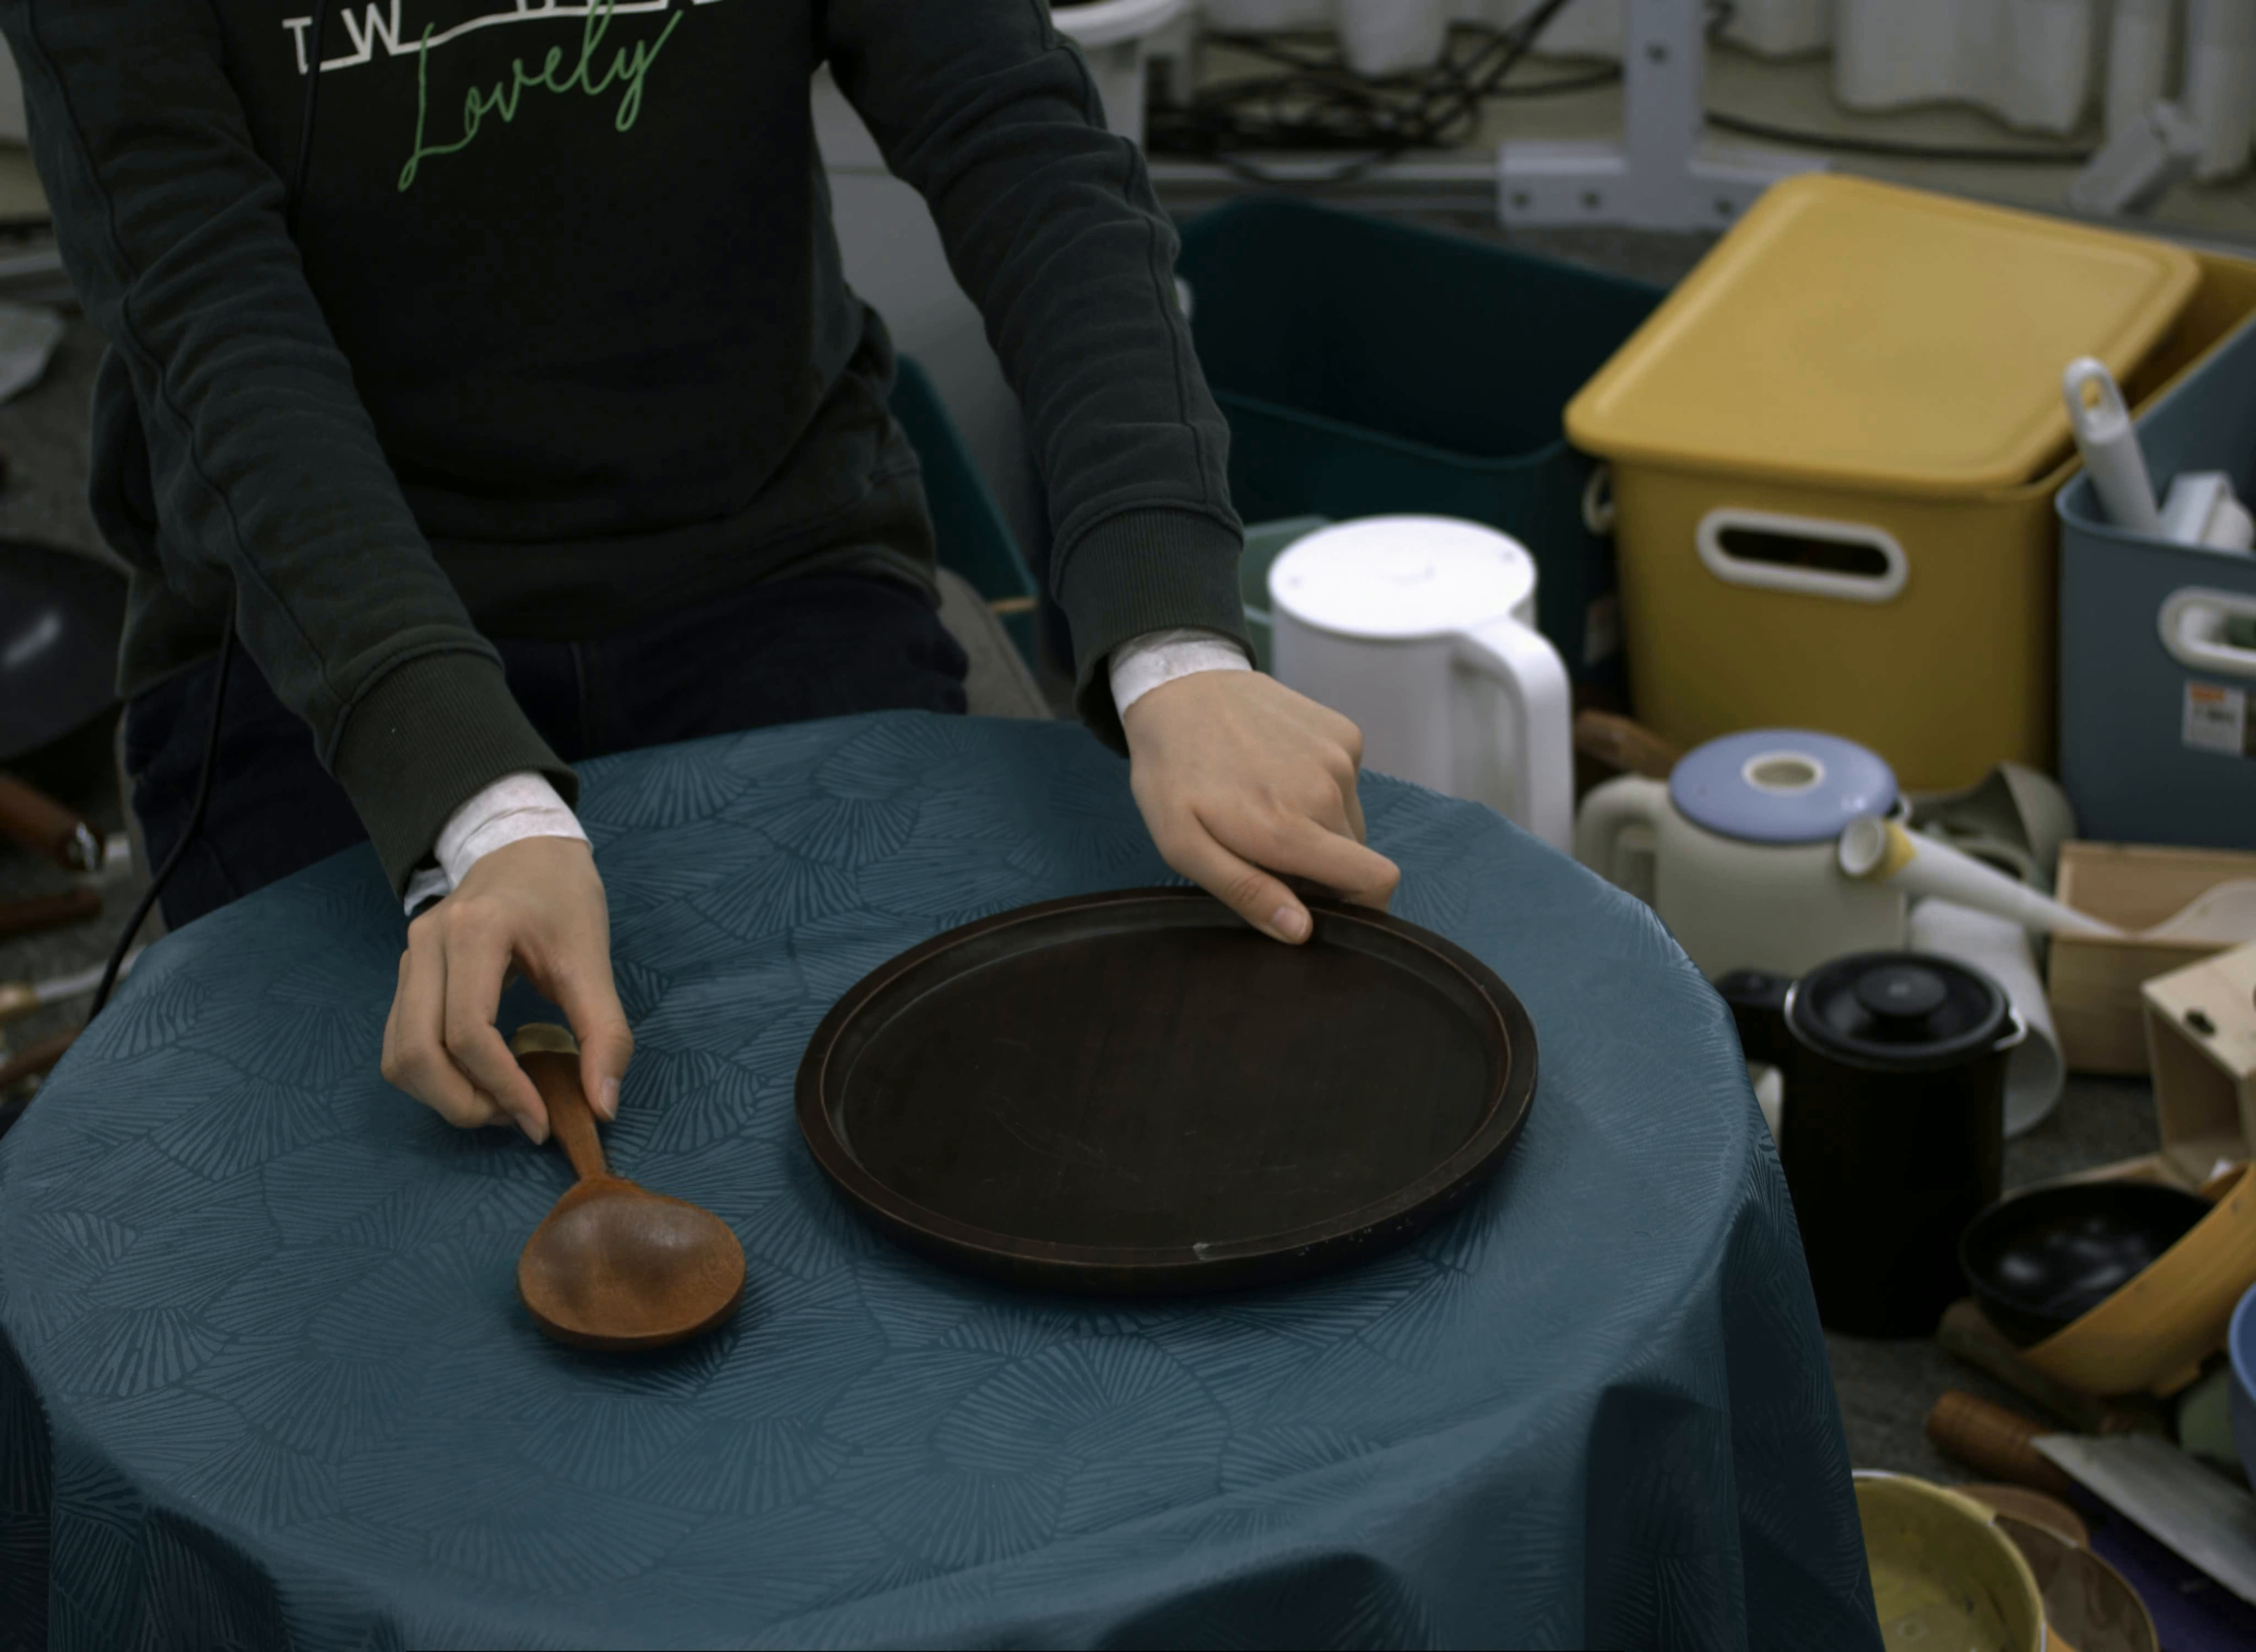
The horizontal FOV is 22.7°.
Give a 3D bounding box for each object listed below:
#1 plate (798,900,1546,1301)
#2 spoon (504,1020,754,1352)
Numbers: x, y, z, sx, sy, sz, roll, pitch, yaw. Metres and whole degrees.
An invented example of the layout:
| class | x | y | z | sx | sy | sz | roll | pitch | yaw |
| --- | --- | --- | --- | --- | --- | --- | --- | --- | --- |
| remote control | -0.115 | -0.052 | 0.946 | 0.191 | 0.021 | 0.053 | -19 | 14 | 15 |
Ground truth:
| class | x | y | z | sx | sy | sz | roll | pitch | yaw |
| --- | --- | --- | --- | --- | --- | --- | --- | --- | --- |
| plate | 0.015 | 0.090 | 1.897 | 0.253 | 0.029 | 0.259 | -1 | 28 | 1 |
| spoon | -0.176 | 0.120 | 1.863 | 0.075 | 0.017 | 0.218 | -10 | 28 | -13 |
